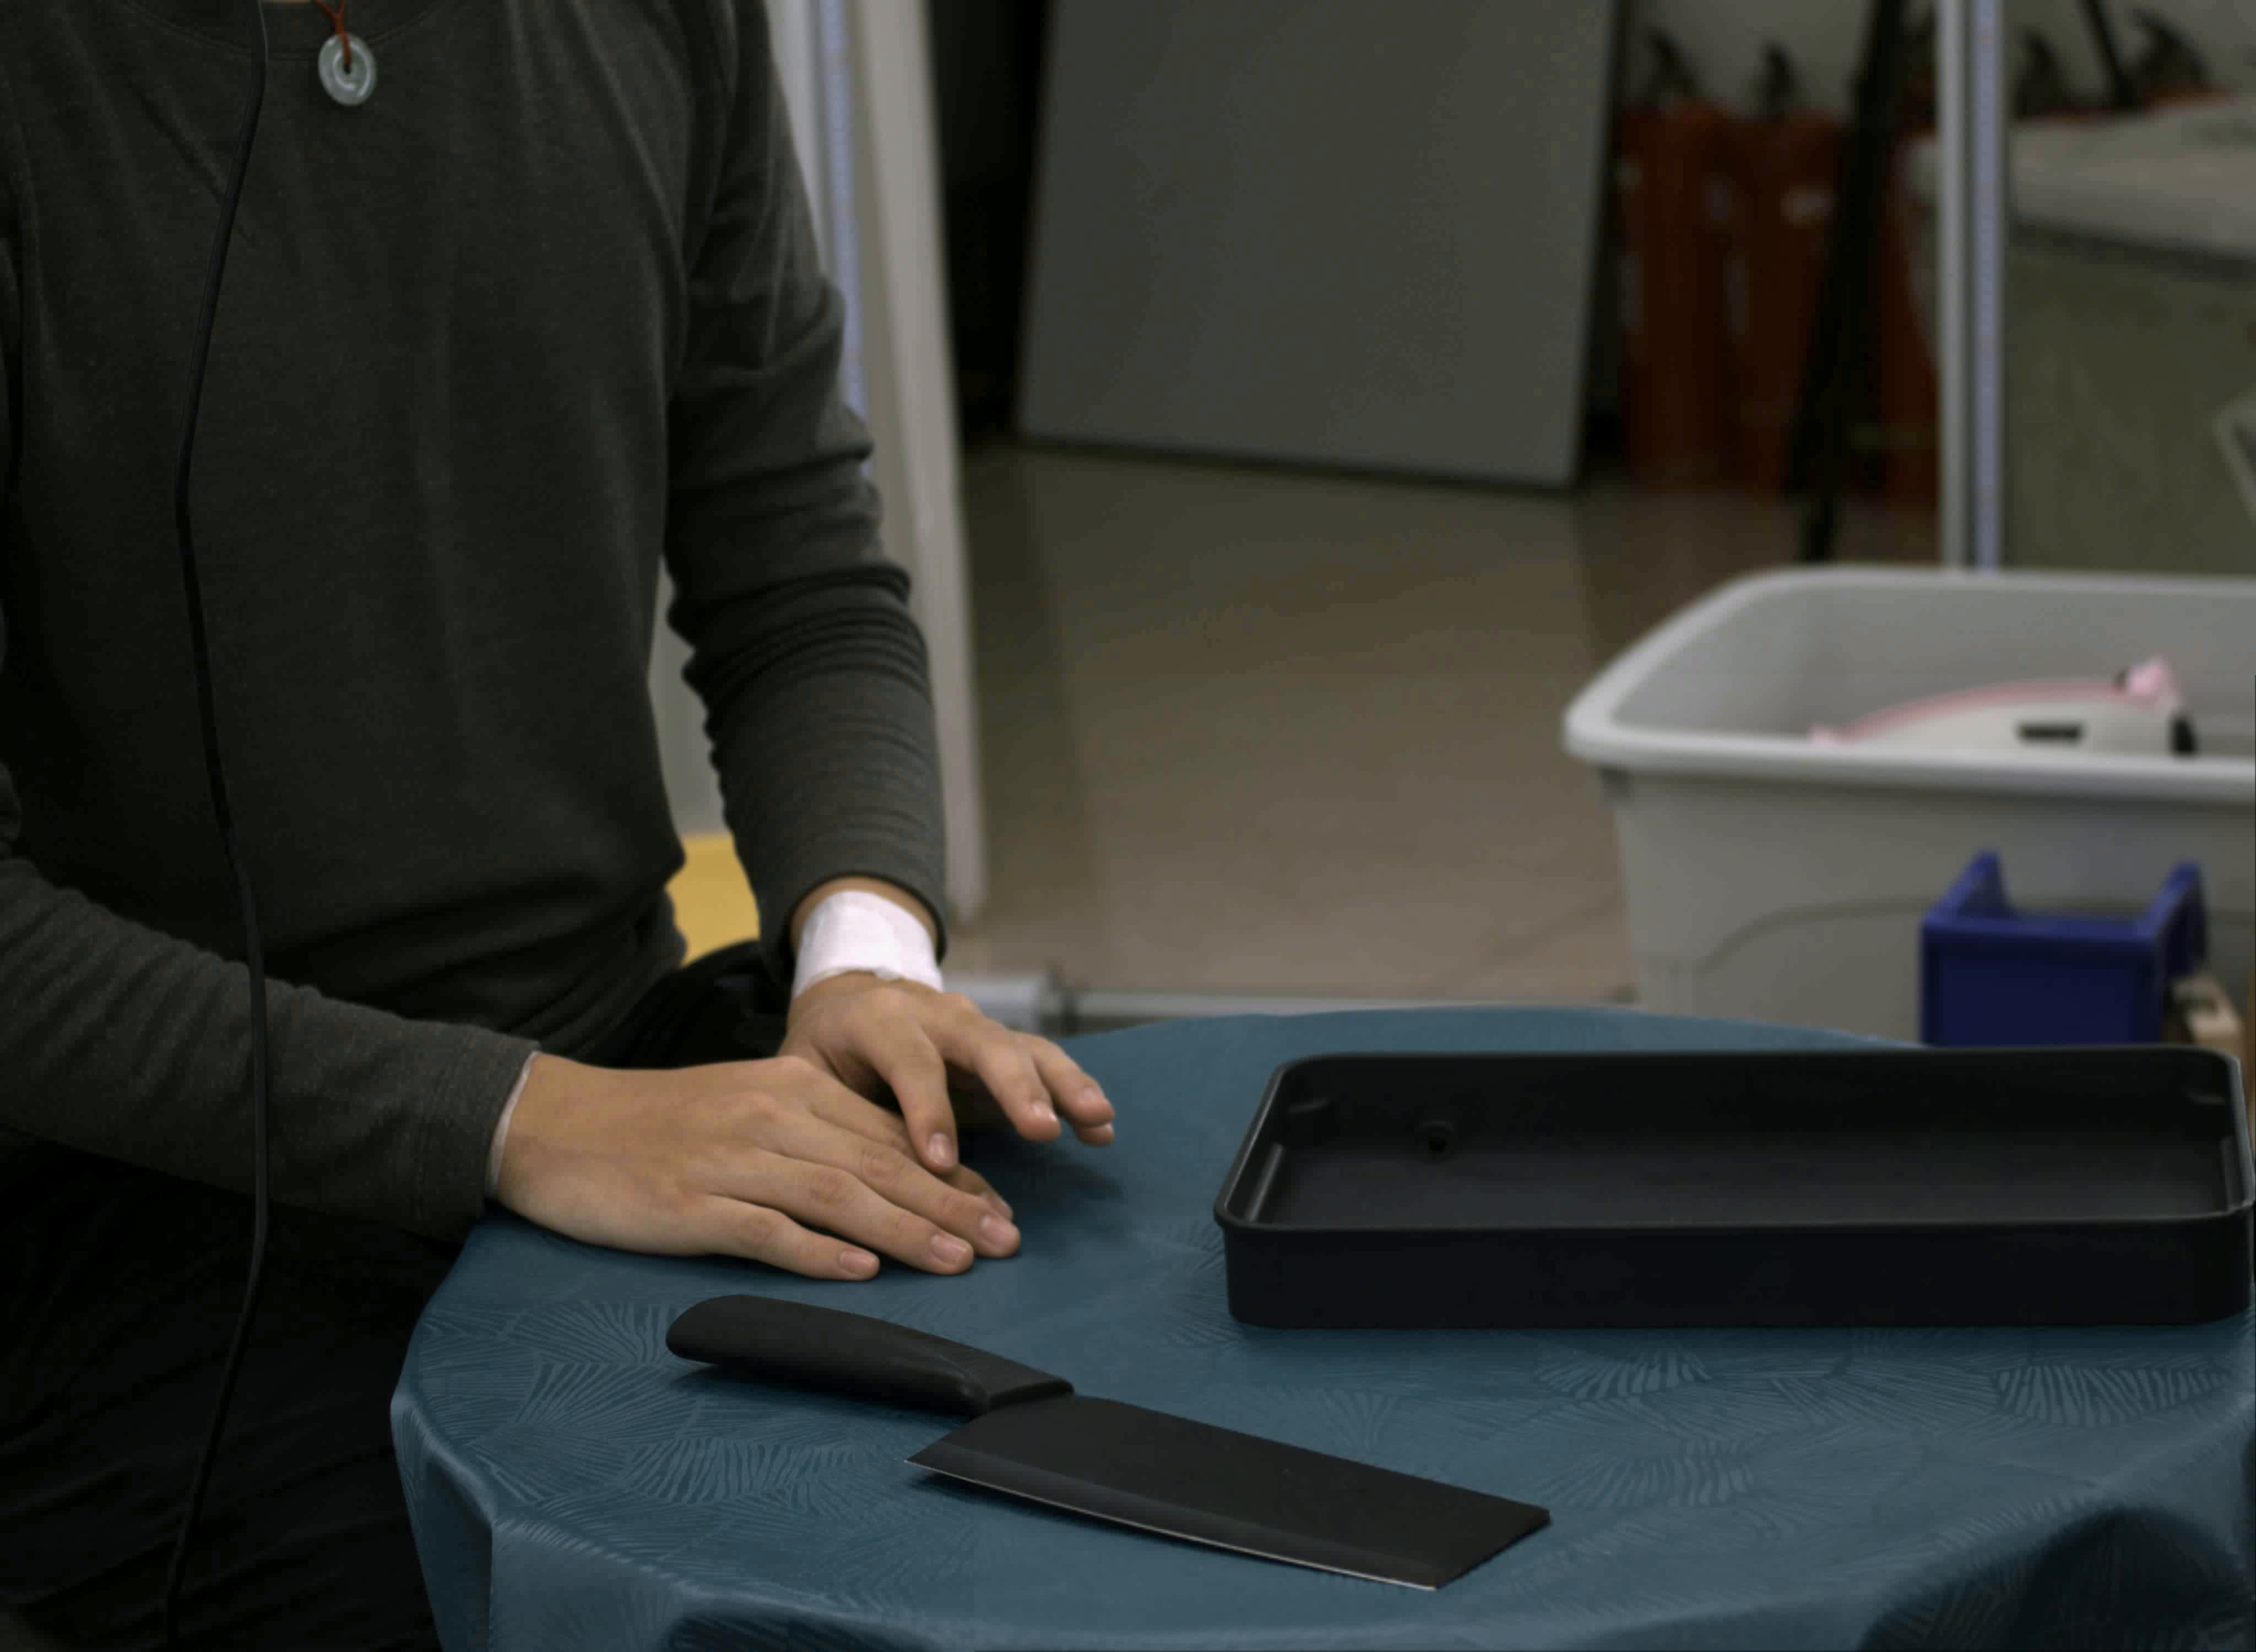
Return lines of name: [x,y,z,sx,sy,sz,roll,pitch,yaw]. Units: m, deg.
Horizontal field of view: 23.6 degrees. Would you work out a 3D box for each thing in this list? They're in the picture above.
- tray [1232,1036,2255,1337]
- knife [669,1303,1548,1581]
tray: [0.197,0.111,1.683,0.315,0.037,0.183,-2,13,9]
knife: [-0.017,0.174,1.533,0.305,0.021,0.079,10,21,42]
